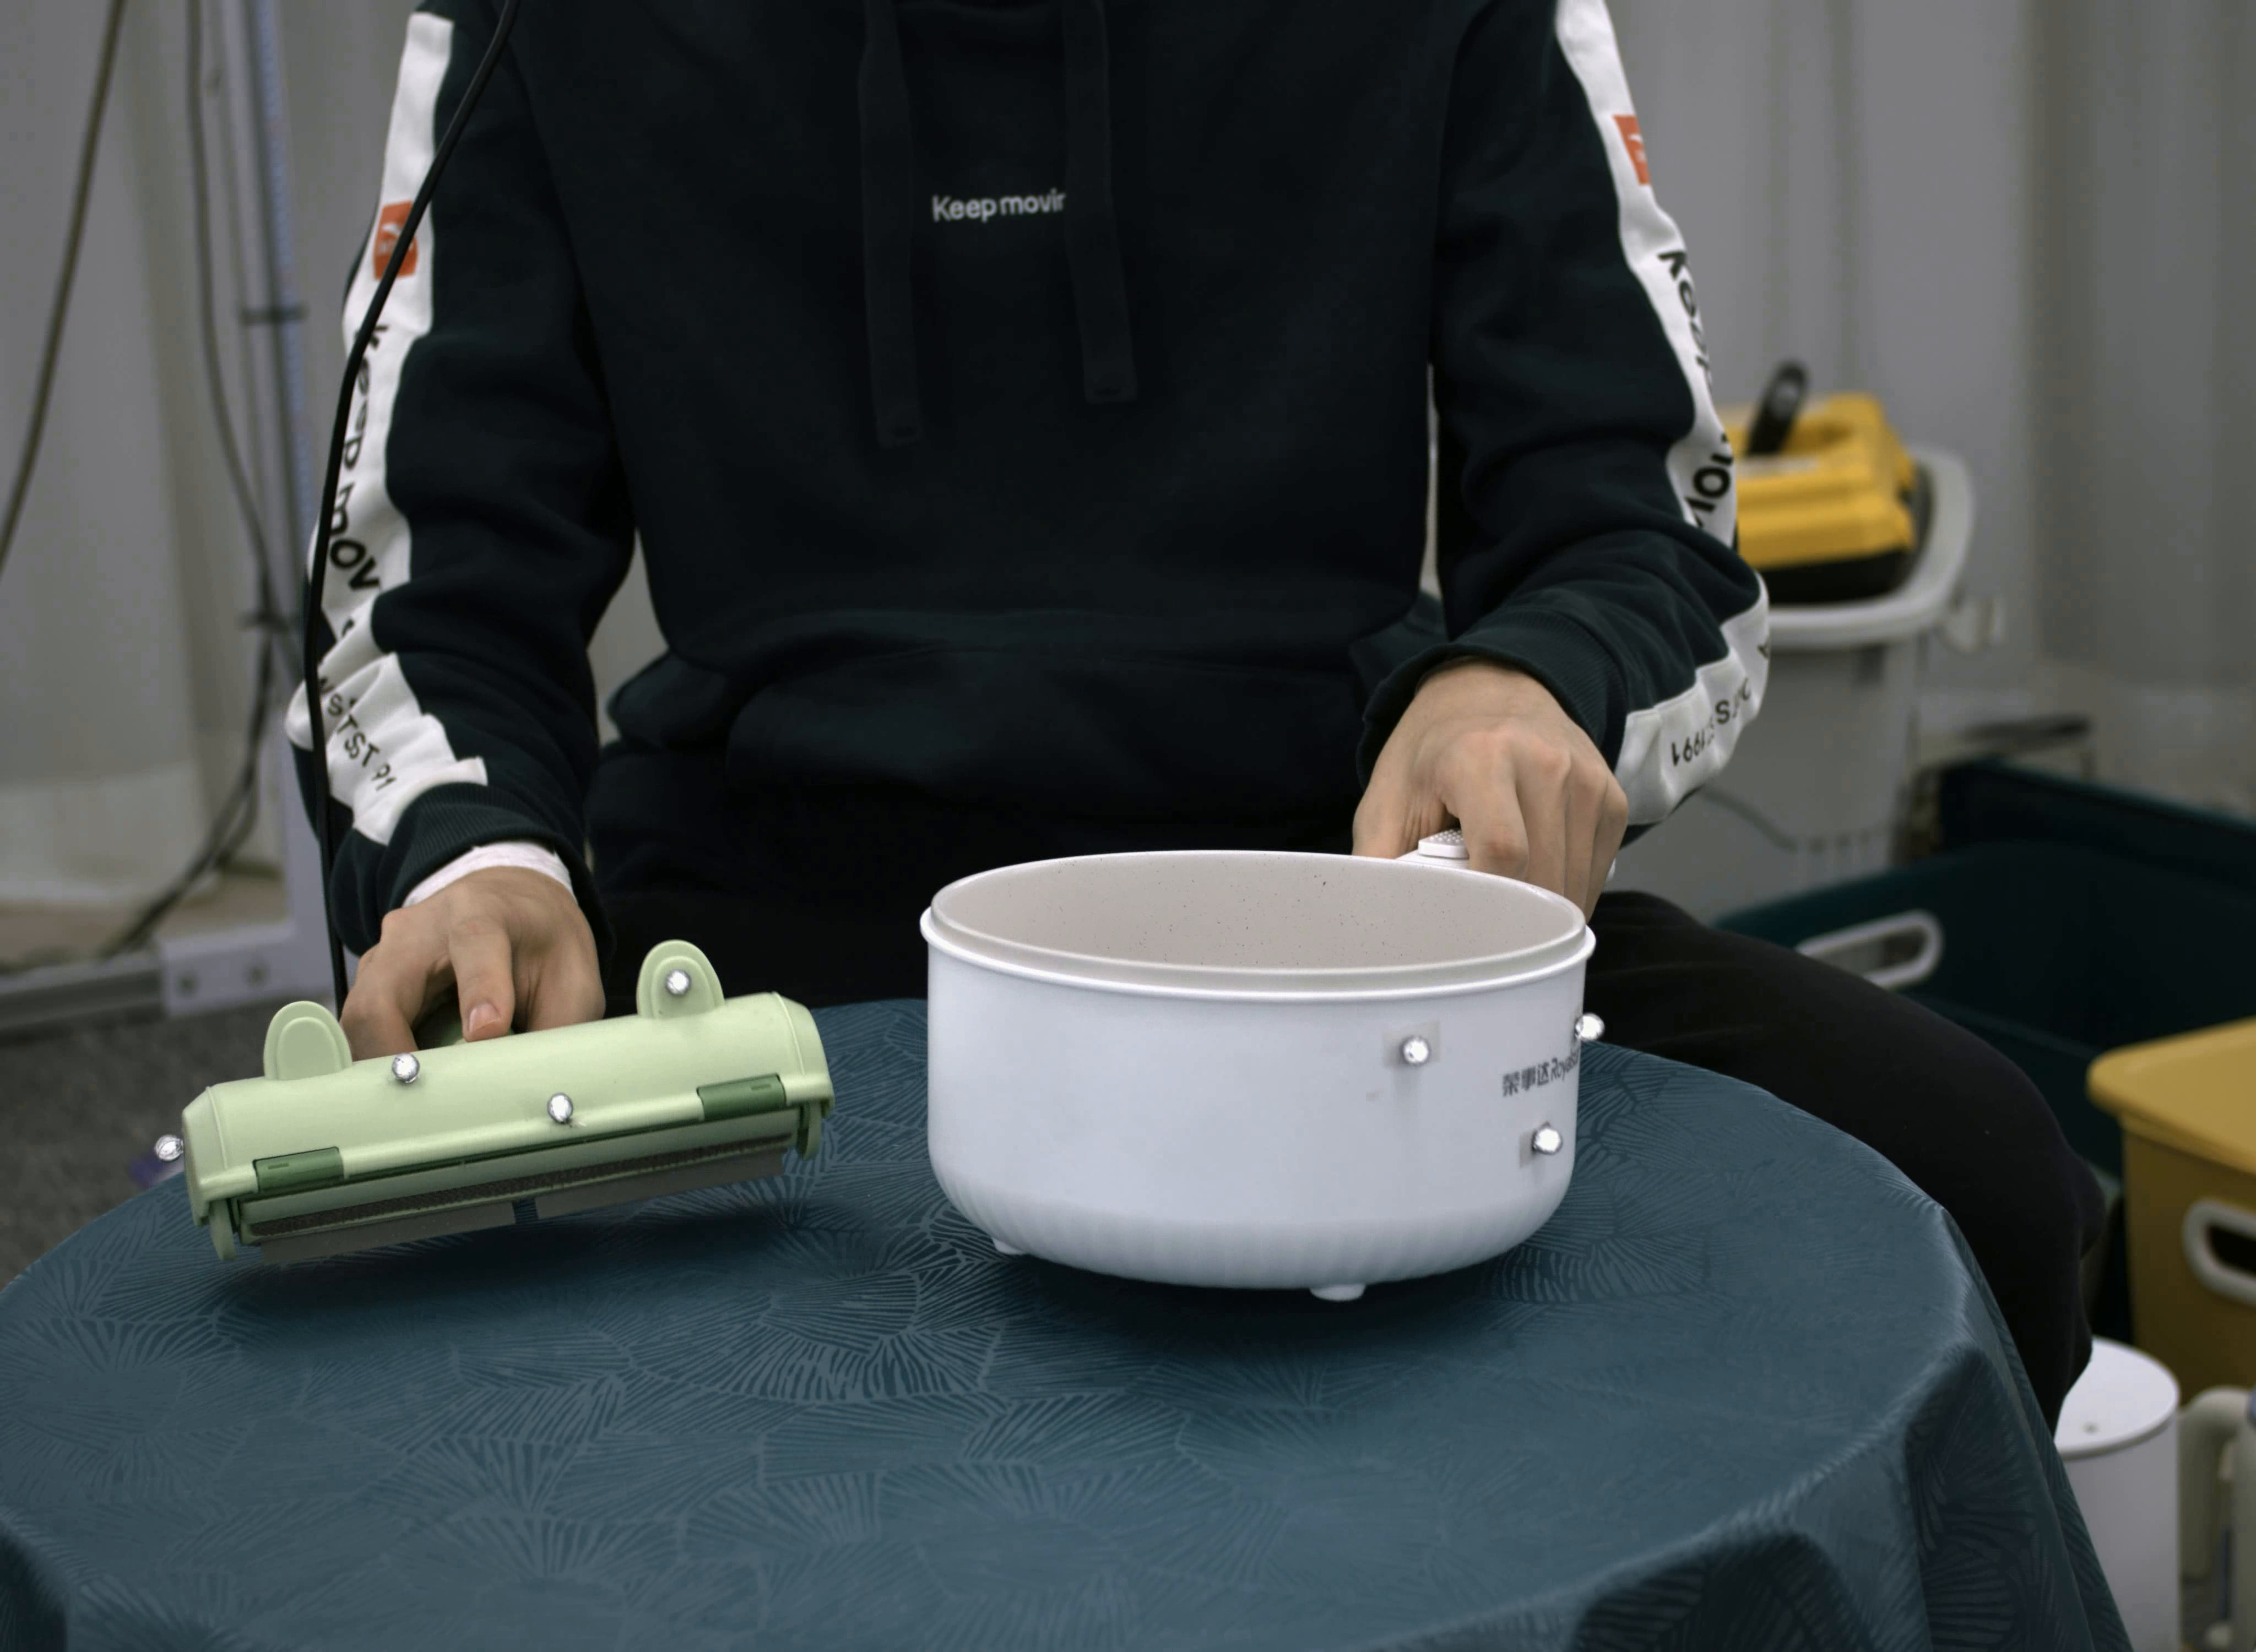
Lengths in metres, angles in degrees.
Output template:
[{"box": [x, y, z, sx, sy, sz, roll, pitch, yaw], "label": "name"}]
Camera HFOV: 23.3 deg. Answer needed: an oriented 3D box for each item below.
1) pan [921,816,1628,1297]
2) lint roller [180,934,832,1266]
[{"box": [0.071, 0.065, 1.702, 0.201, 0.102, 0.354, 5, 9, 26], "label": "pan"}, {"box": [-0.206, 0.067, 1.728, 0.198, 0.081, 0.185, -10, 22, -13], "label": "lint roller"}]
